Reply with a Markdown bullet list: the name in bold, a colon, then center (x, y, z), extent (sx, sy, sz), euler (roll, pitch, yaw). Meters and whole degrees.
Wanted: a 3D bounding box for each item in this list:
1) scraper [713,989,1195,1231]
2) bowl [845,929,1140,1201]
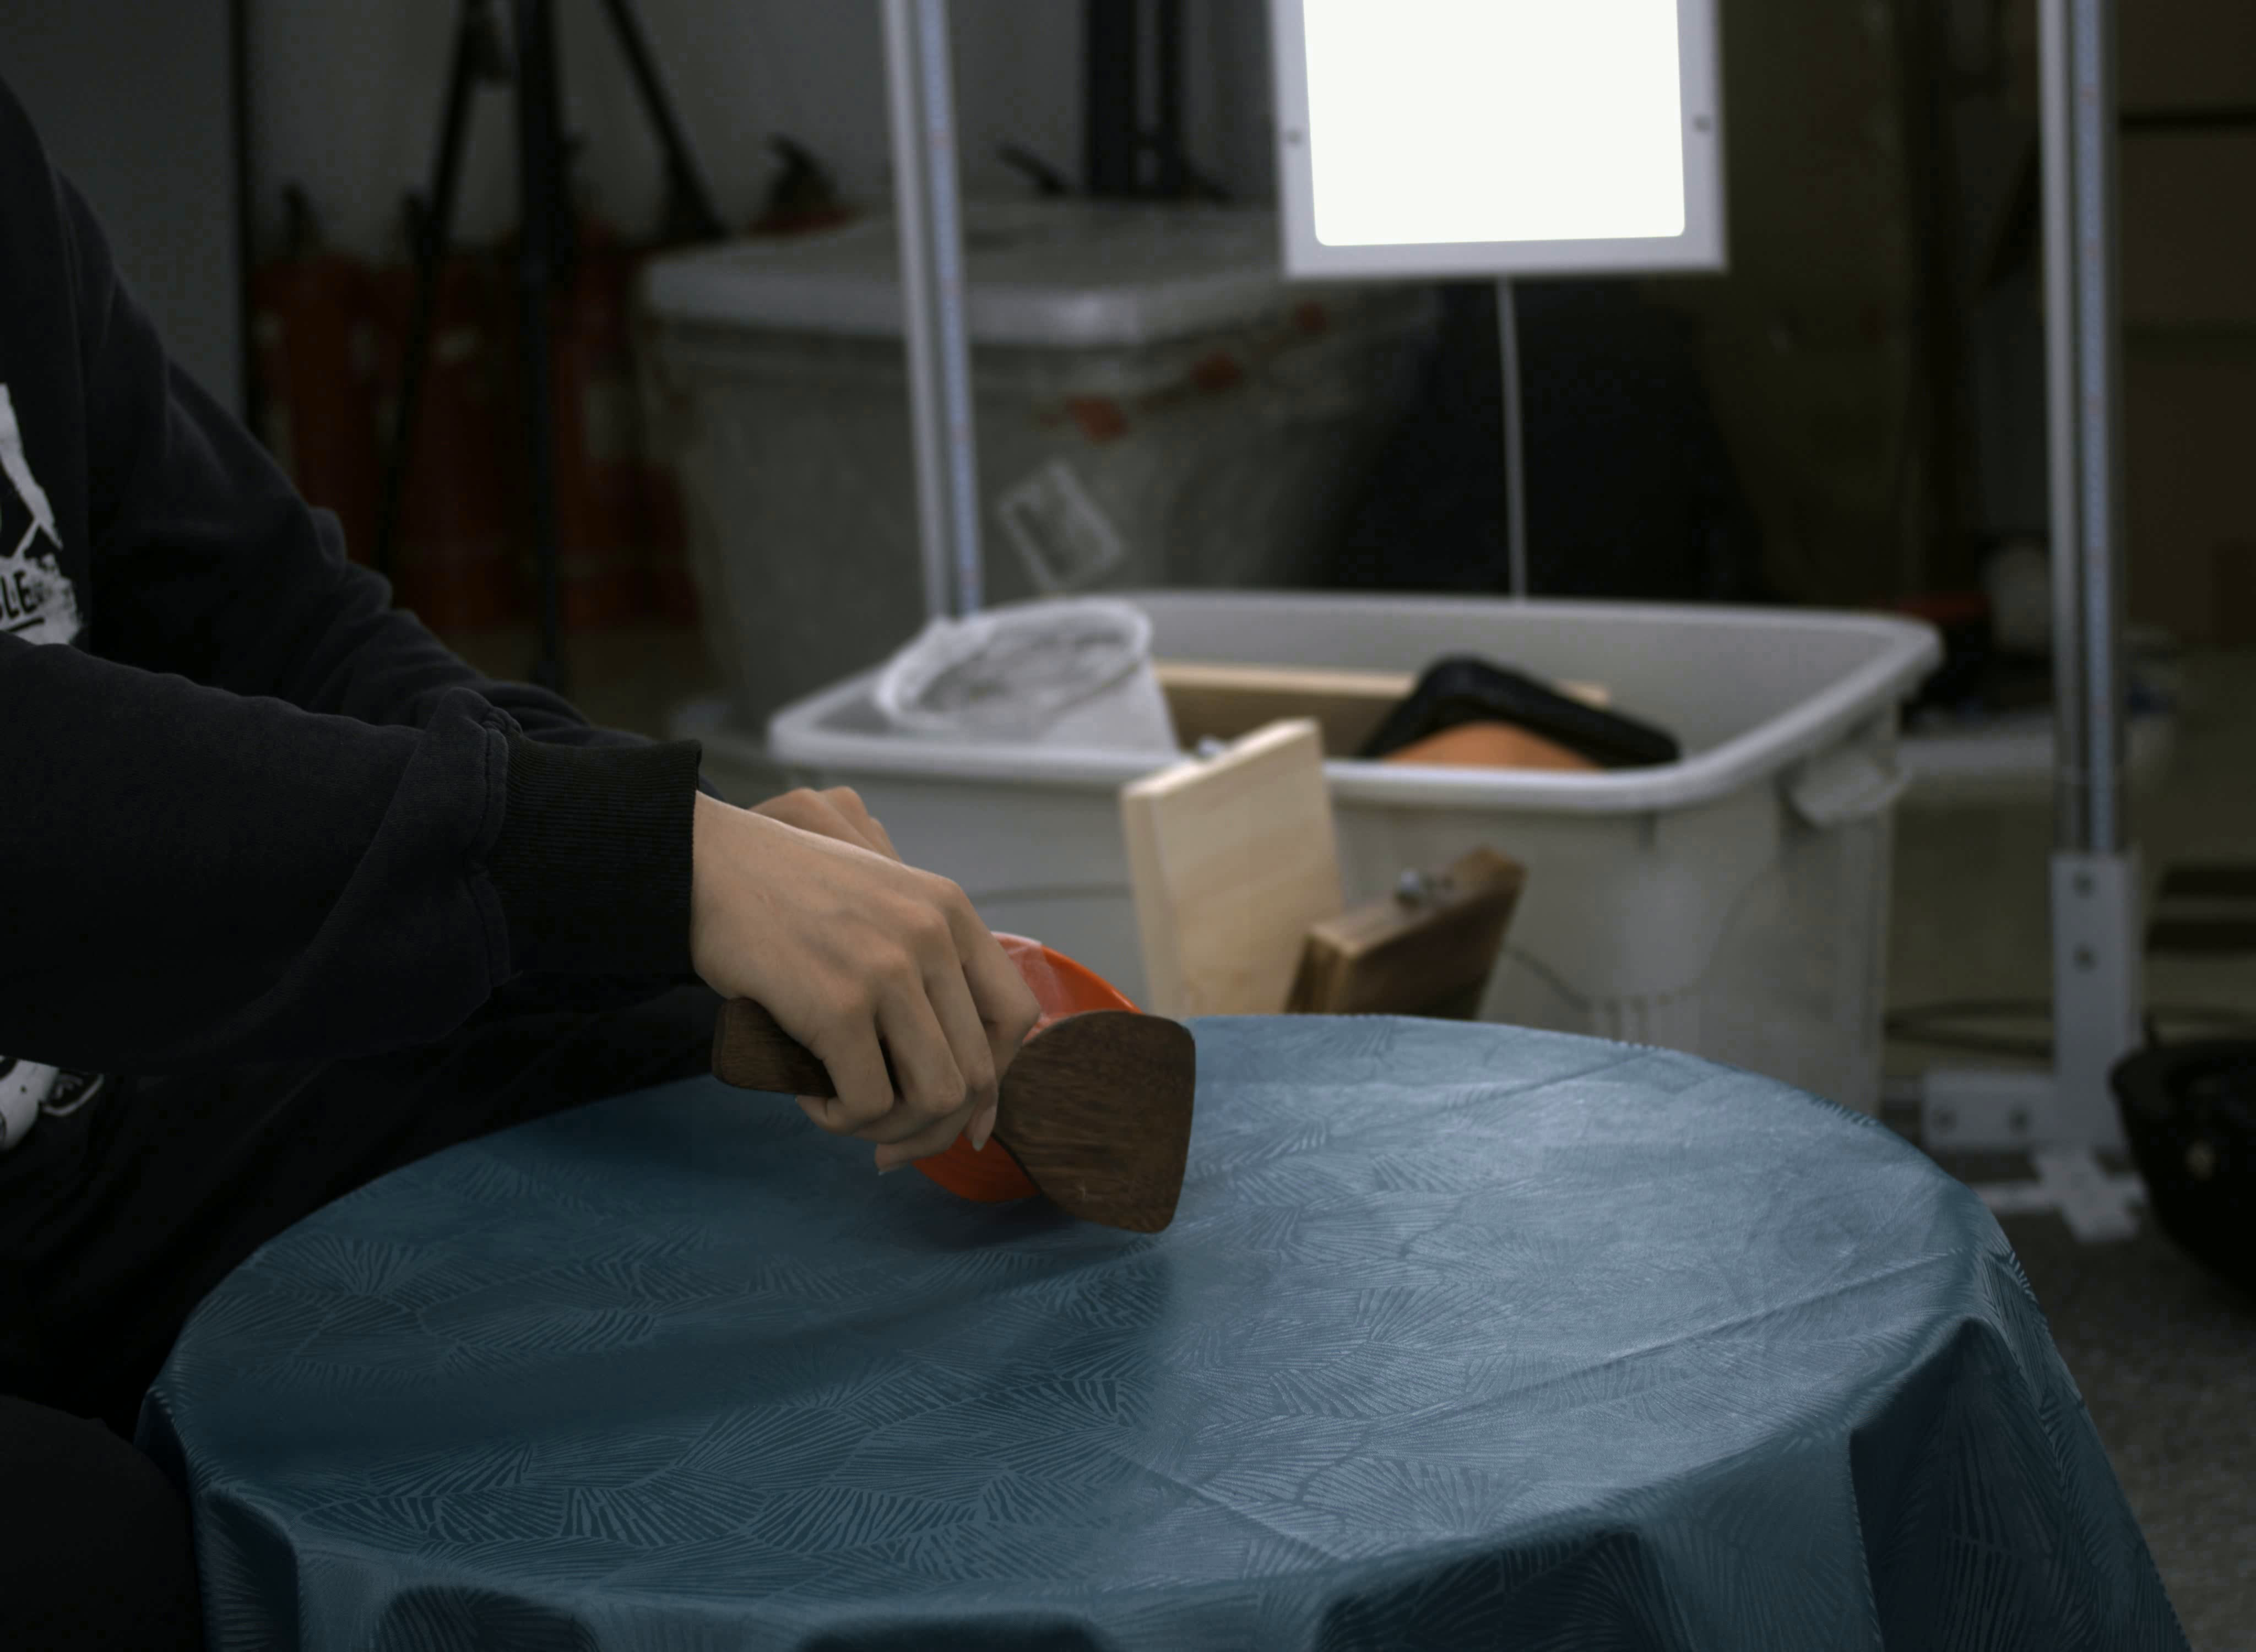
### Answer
- **scraper**: center (-0.055, 0.081, 1.777), extent (0.206, 0.076, 0.011), euler (14, -9, -43)
- **bowl**: center (-0.046, 0.089, 1.911), extent (0.118, 0.052, 0.118), euler (14, 29, -9)
